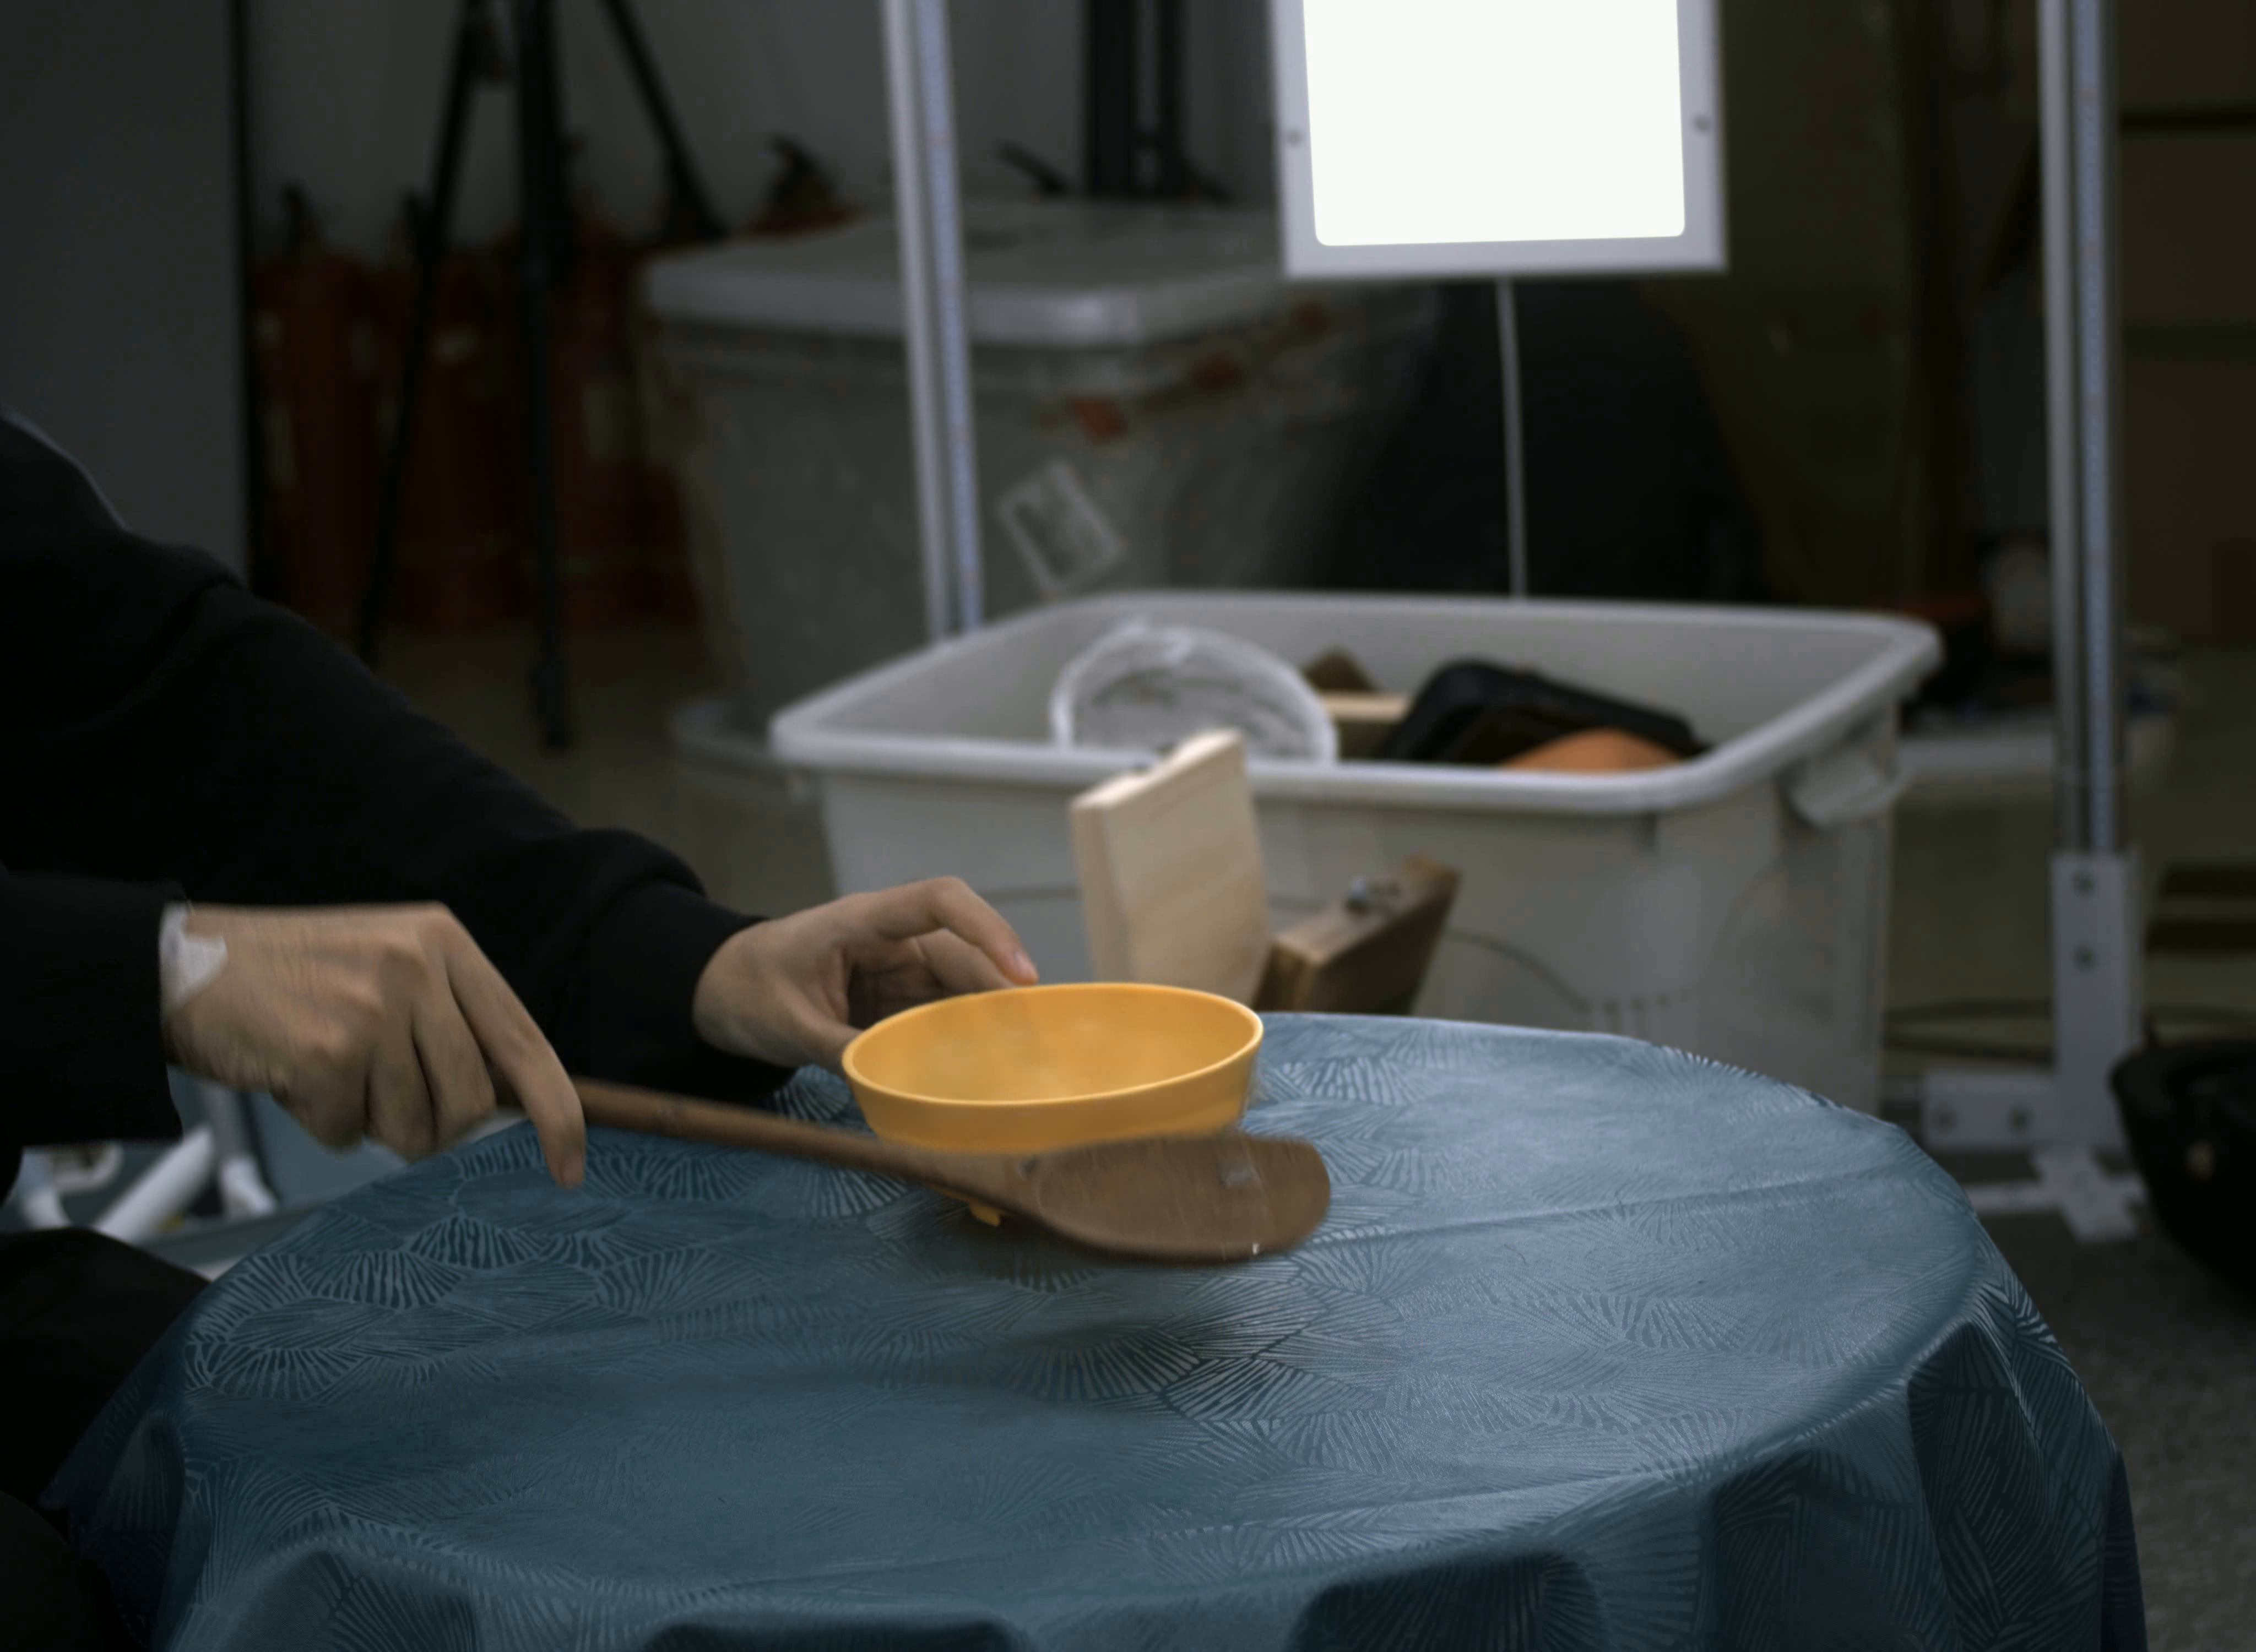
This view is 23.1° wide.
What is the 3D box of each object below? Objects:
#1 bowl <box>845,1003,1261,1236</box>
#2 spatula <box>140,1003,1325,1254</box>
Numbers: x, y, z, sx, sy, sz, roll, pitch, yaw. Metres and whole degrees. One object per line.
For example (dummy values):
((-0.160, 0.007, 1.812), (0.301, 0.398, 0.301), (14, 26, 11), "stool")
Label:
((-0.024, 0.104, 1.885), (0.145, 0.060, 0.145), (-5, 11, 0), "bowl")
((-0.128, 0.091, 1.747), (0.388, 0.016, 0.095), (9, 21, 9), "spatula")
